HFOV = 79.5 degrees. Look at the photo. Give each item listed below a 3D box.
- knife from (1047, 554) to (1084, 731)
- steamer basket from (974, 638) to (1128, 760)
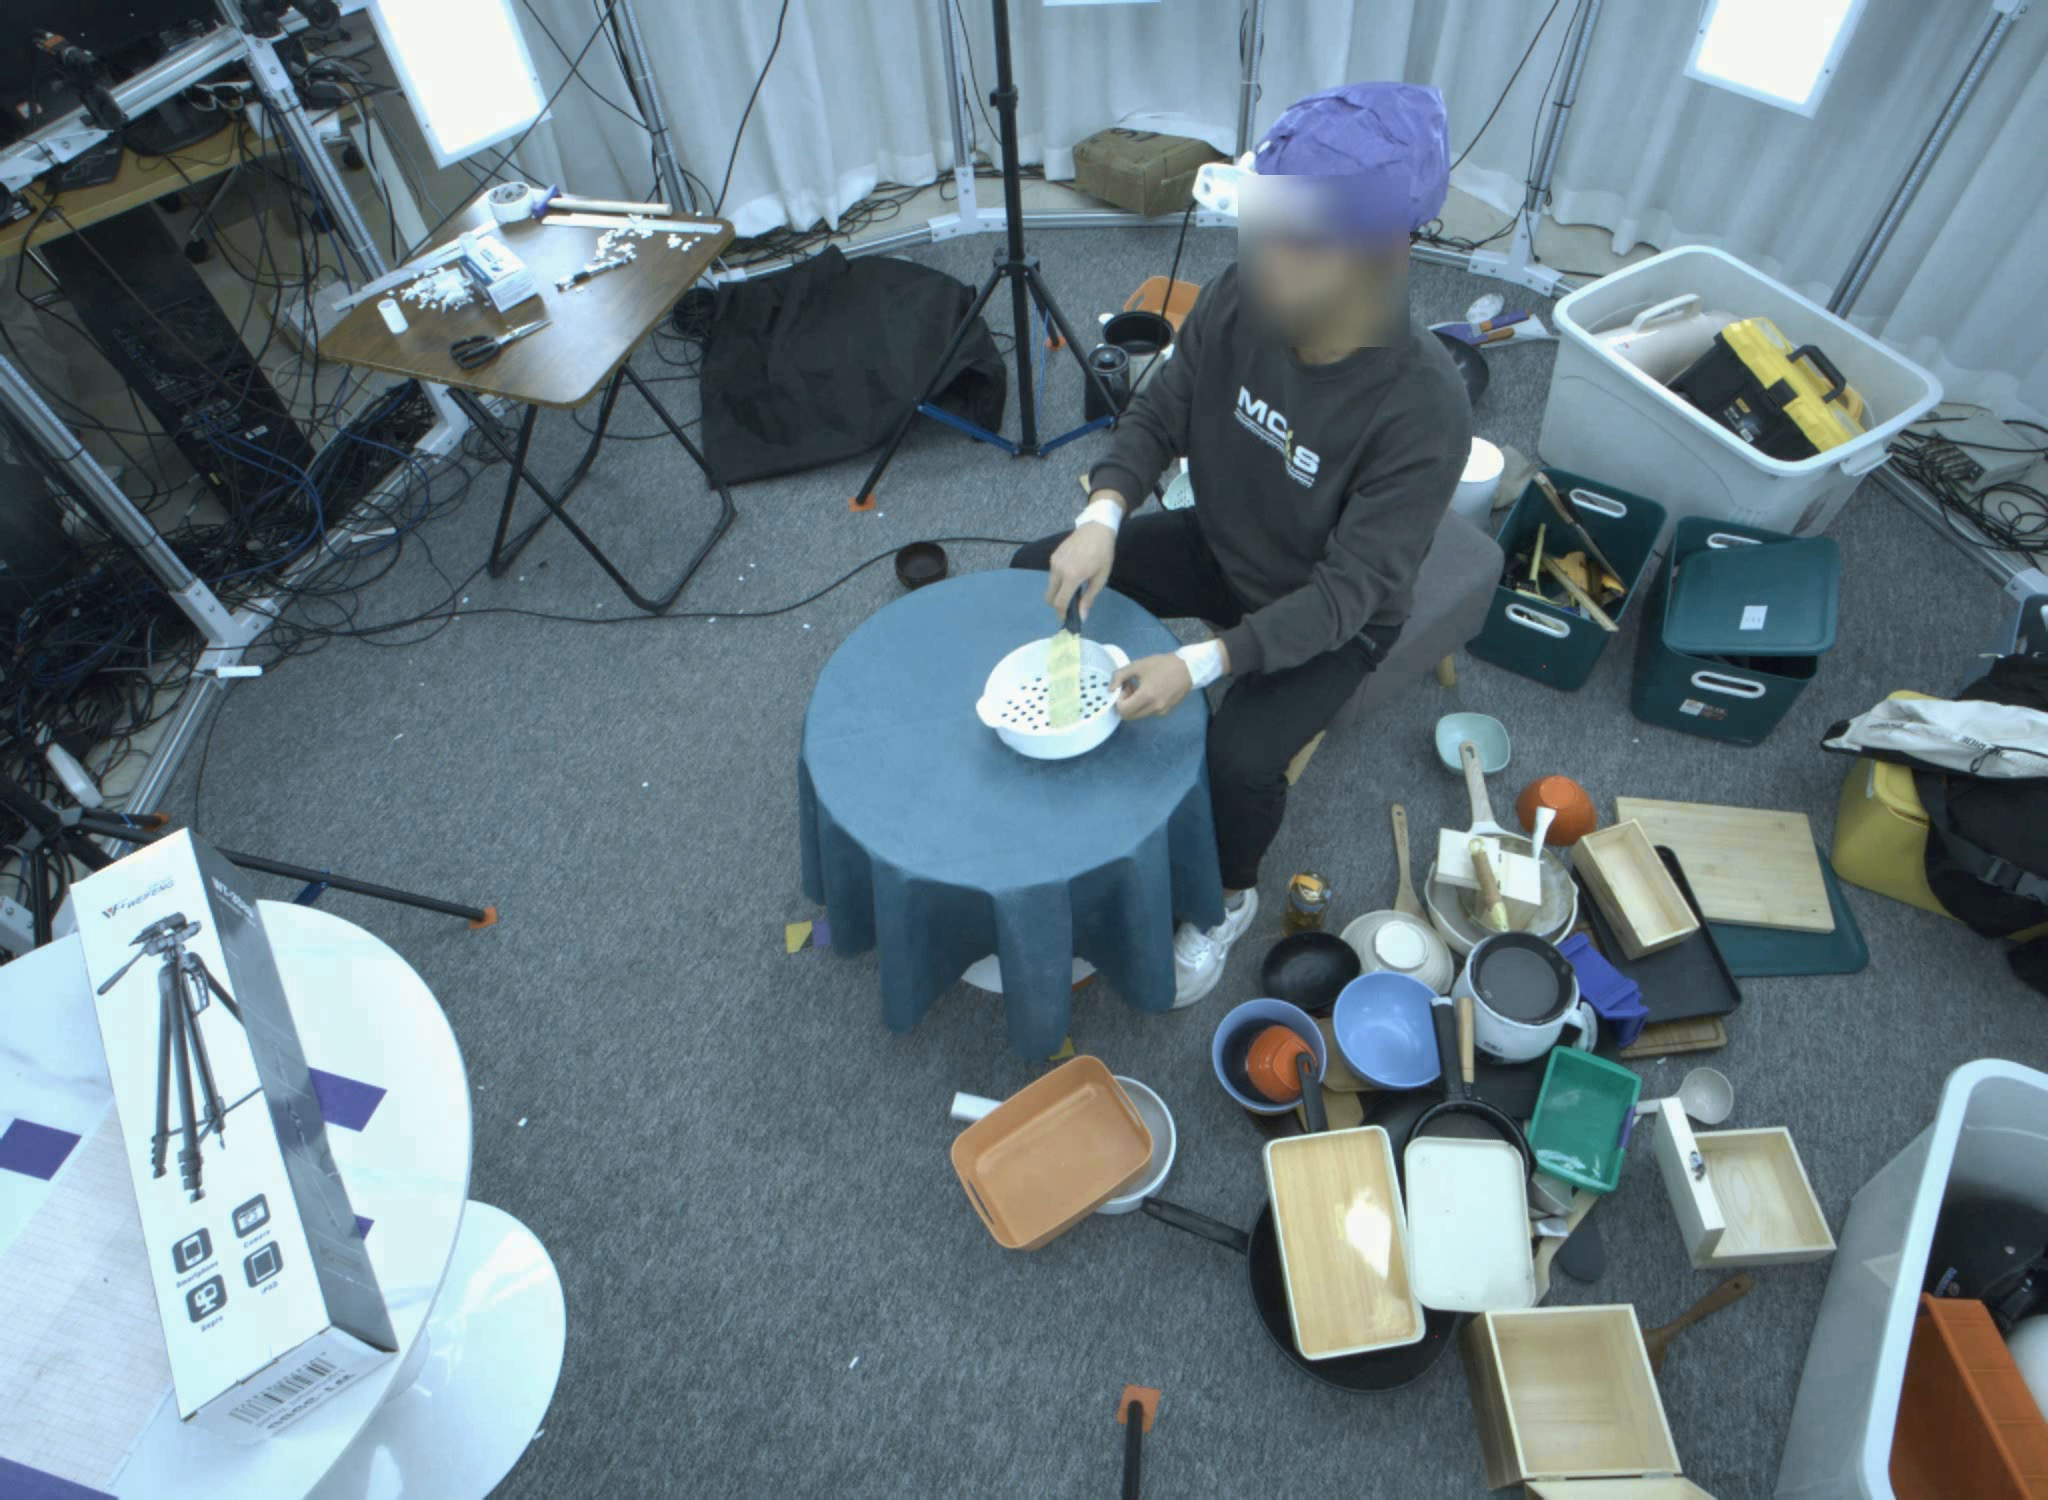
[{"bbox_3d":[0.061,-0.149,1.786,0.028,0.079,0.288,16,68,-39],"label":"knife"},{"bbox_3d":[0.043,-0.073,1.790,0.232,0.070,0.198,-22,47,-10],"label":"steamer basket"}]
